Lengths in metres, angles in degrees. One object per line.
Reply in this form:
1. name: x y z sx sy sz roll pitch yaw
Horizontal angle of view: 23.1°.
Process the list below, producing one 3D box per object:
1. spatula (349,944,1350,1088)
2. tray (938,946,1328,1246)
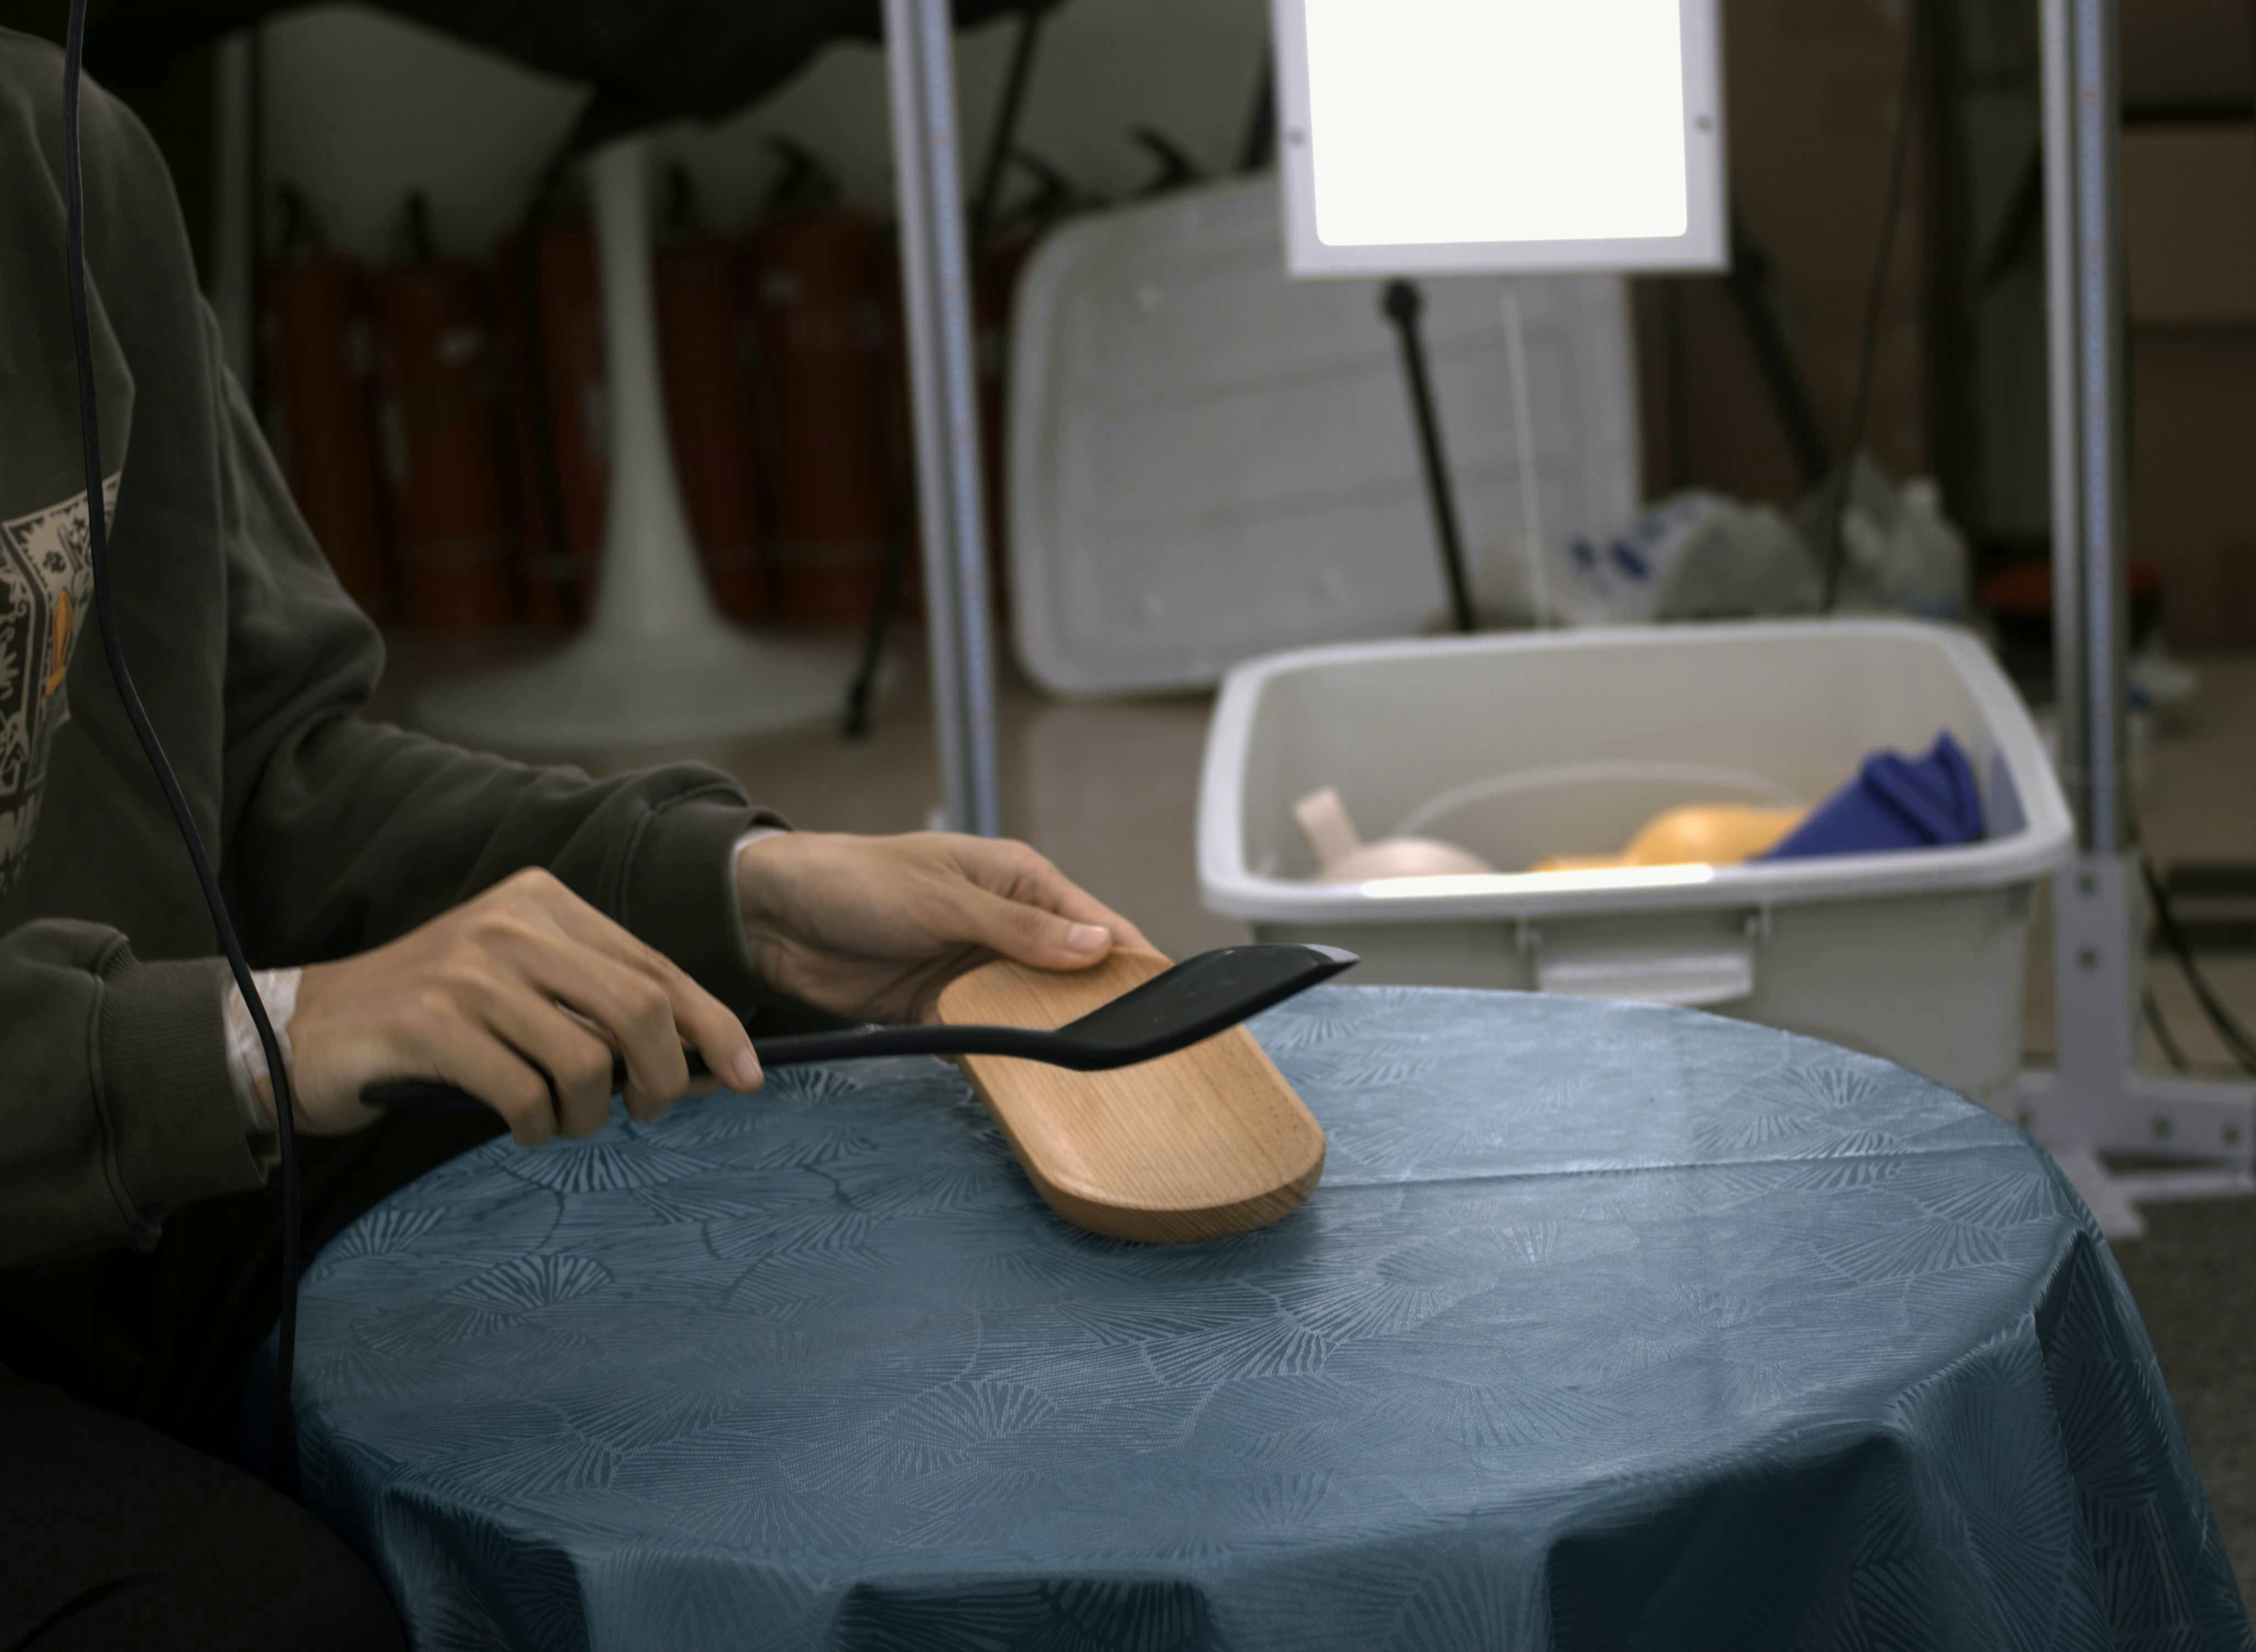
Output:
1. spatula: -0.090 0.061 1.759 0.320 0.040 0.101 -1 -1 -20
2. tray: 0.000 0.093 1.933 0.100 0.020 0.233 -11 24 -12
